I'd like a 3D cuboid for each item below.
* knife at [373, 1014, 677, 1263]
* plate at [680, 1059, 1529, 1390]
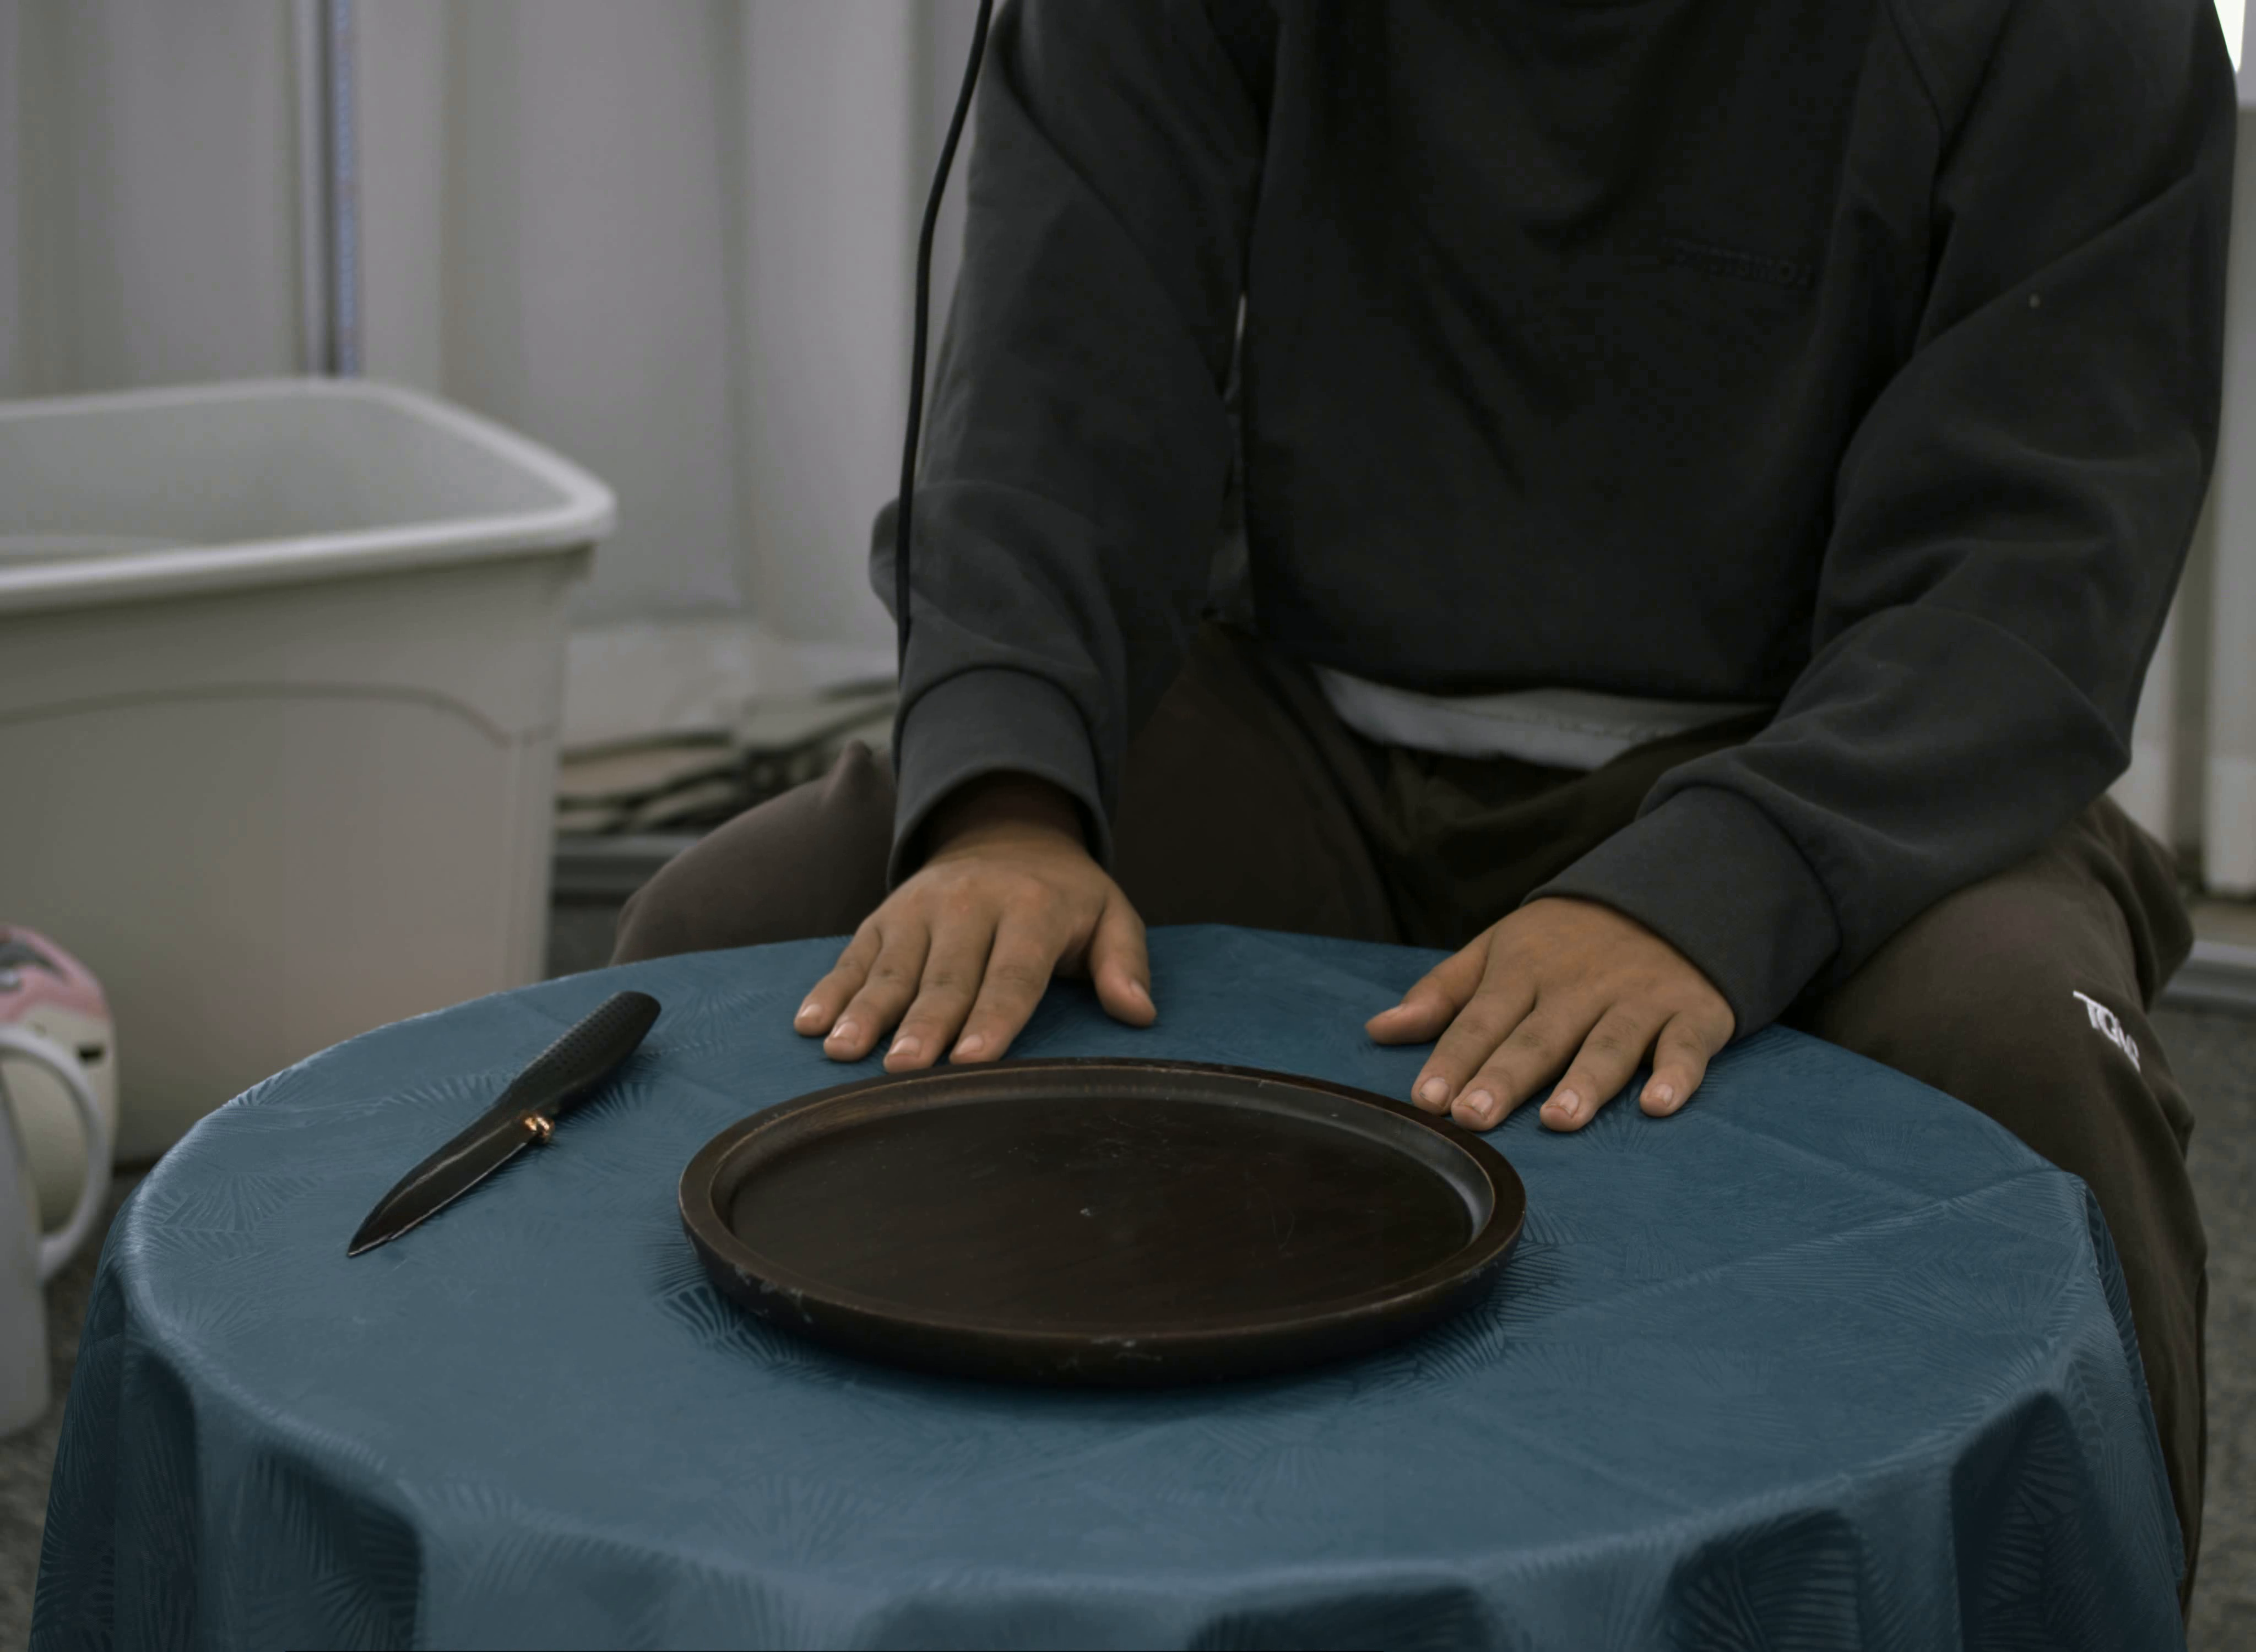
[{"bbox_3d":[-0.191,0.097,1.654,0.026,0.017,0.225,11,18,16],"label":"knife"},{"bbox_3d":[-0.007,0.116,1.570,0.254,0.029,0.253,0,14,1],"label":"plate"}]
